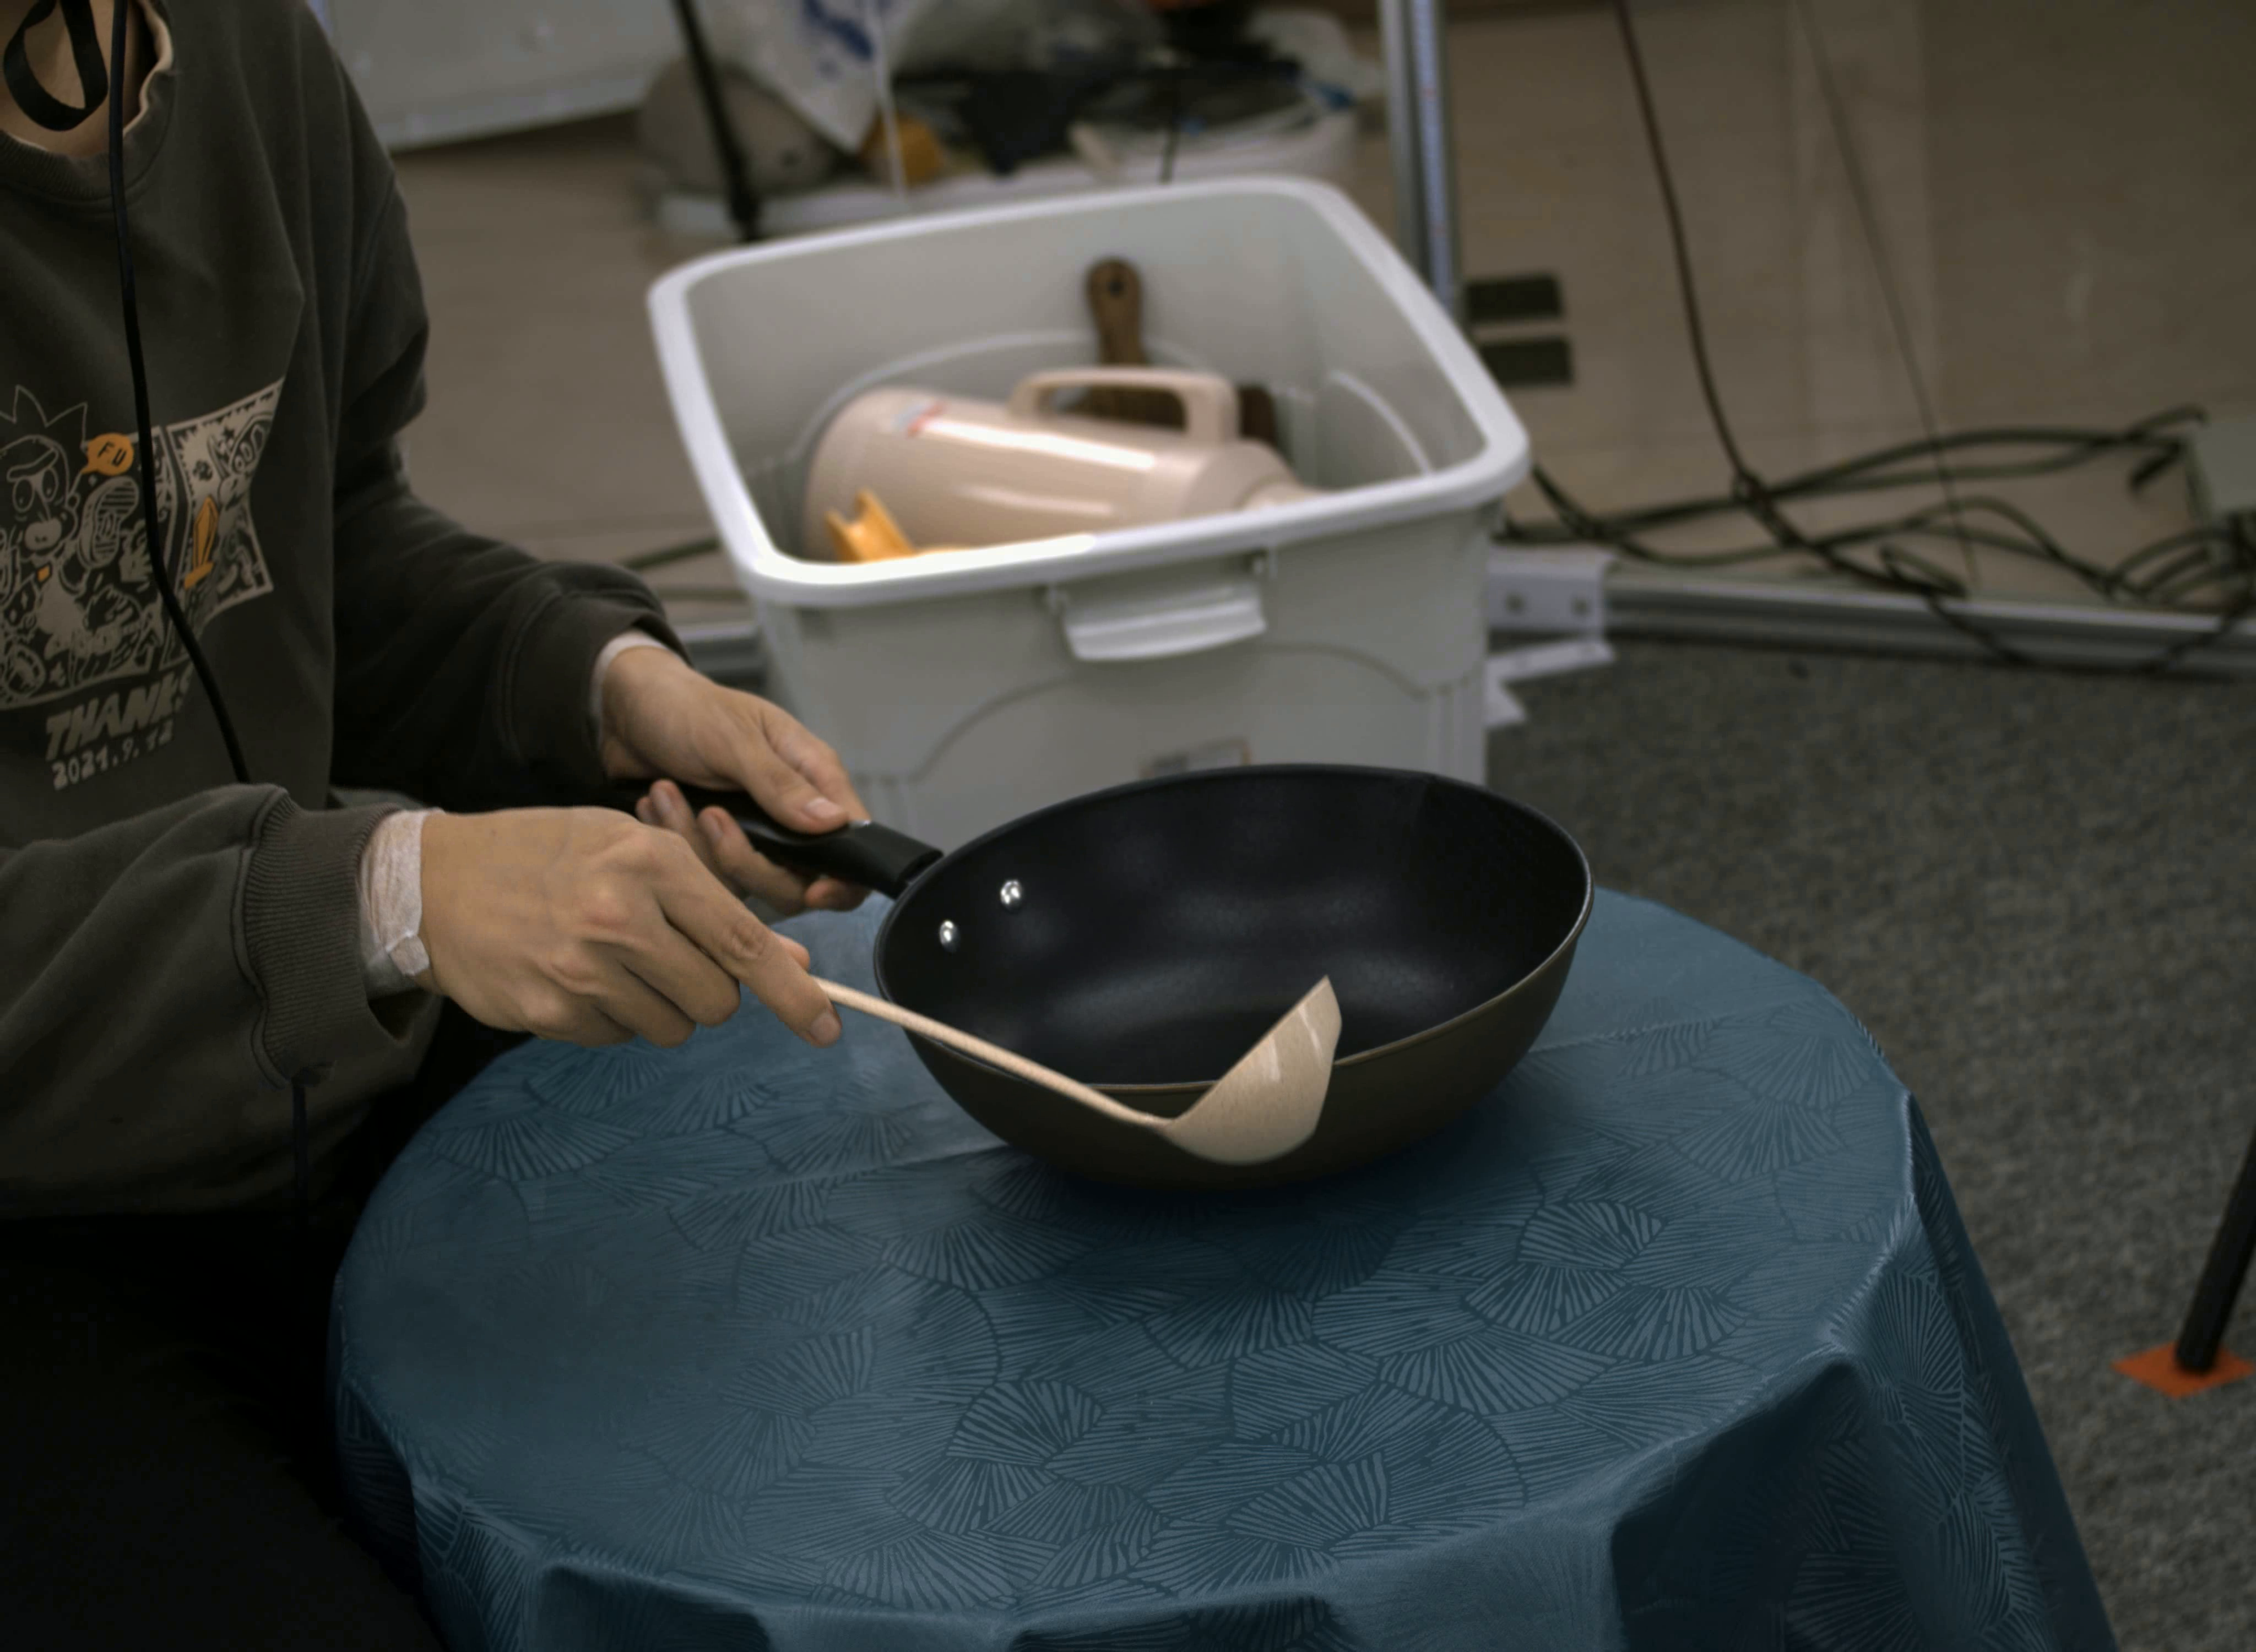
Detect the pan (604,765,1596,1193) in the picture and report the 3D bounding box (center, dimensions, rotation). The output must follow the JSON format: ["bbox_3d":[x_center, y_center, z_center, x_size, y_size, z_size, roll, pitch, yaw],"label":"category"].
[{"bbox_3d":[-0.029,0.054,2.237,0.461,0.088,0.285,11,30,35],"label":"pan"}]

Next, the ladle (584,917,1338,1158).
[{"bbox_3d":[-0.053,0.044,1.917,0.254,0.073,0.072,20,0,-4],"label":"ladle"}]
